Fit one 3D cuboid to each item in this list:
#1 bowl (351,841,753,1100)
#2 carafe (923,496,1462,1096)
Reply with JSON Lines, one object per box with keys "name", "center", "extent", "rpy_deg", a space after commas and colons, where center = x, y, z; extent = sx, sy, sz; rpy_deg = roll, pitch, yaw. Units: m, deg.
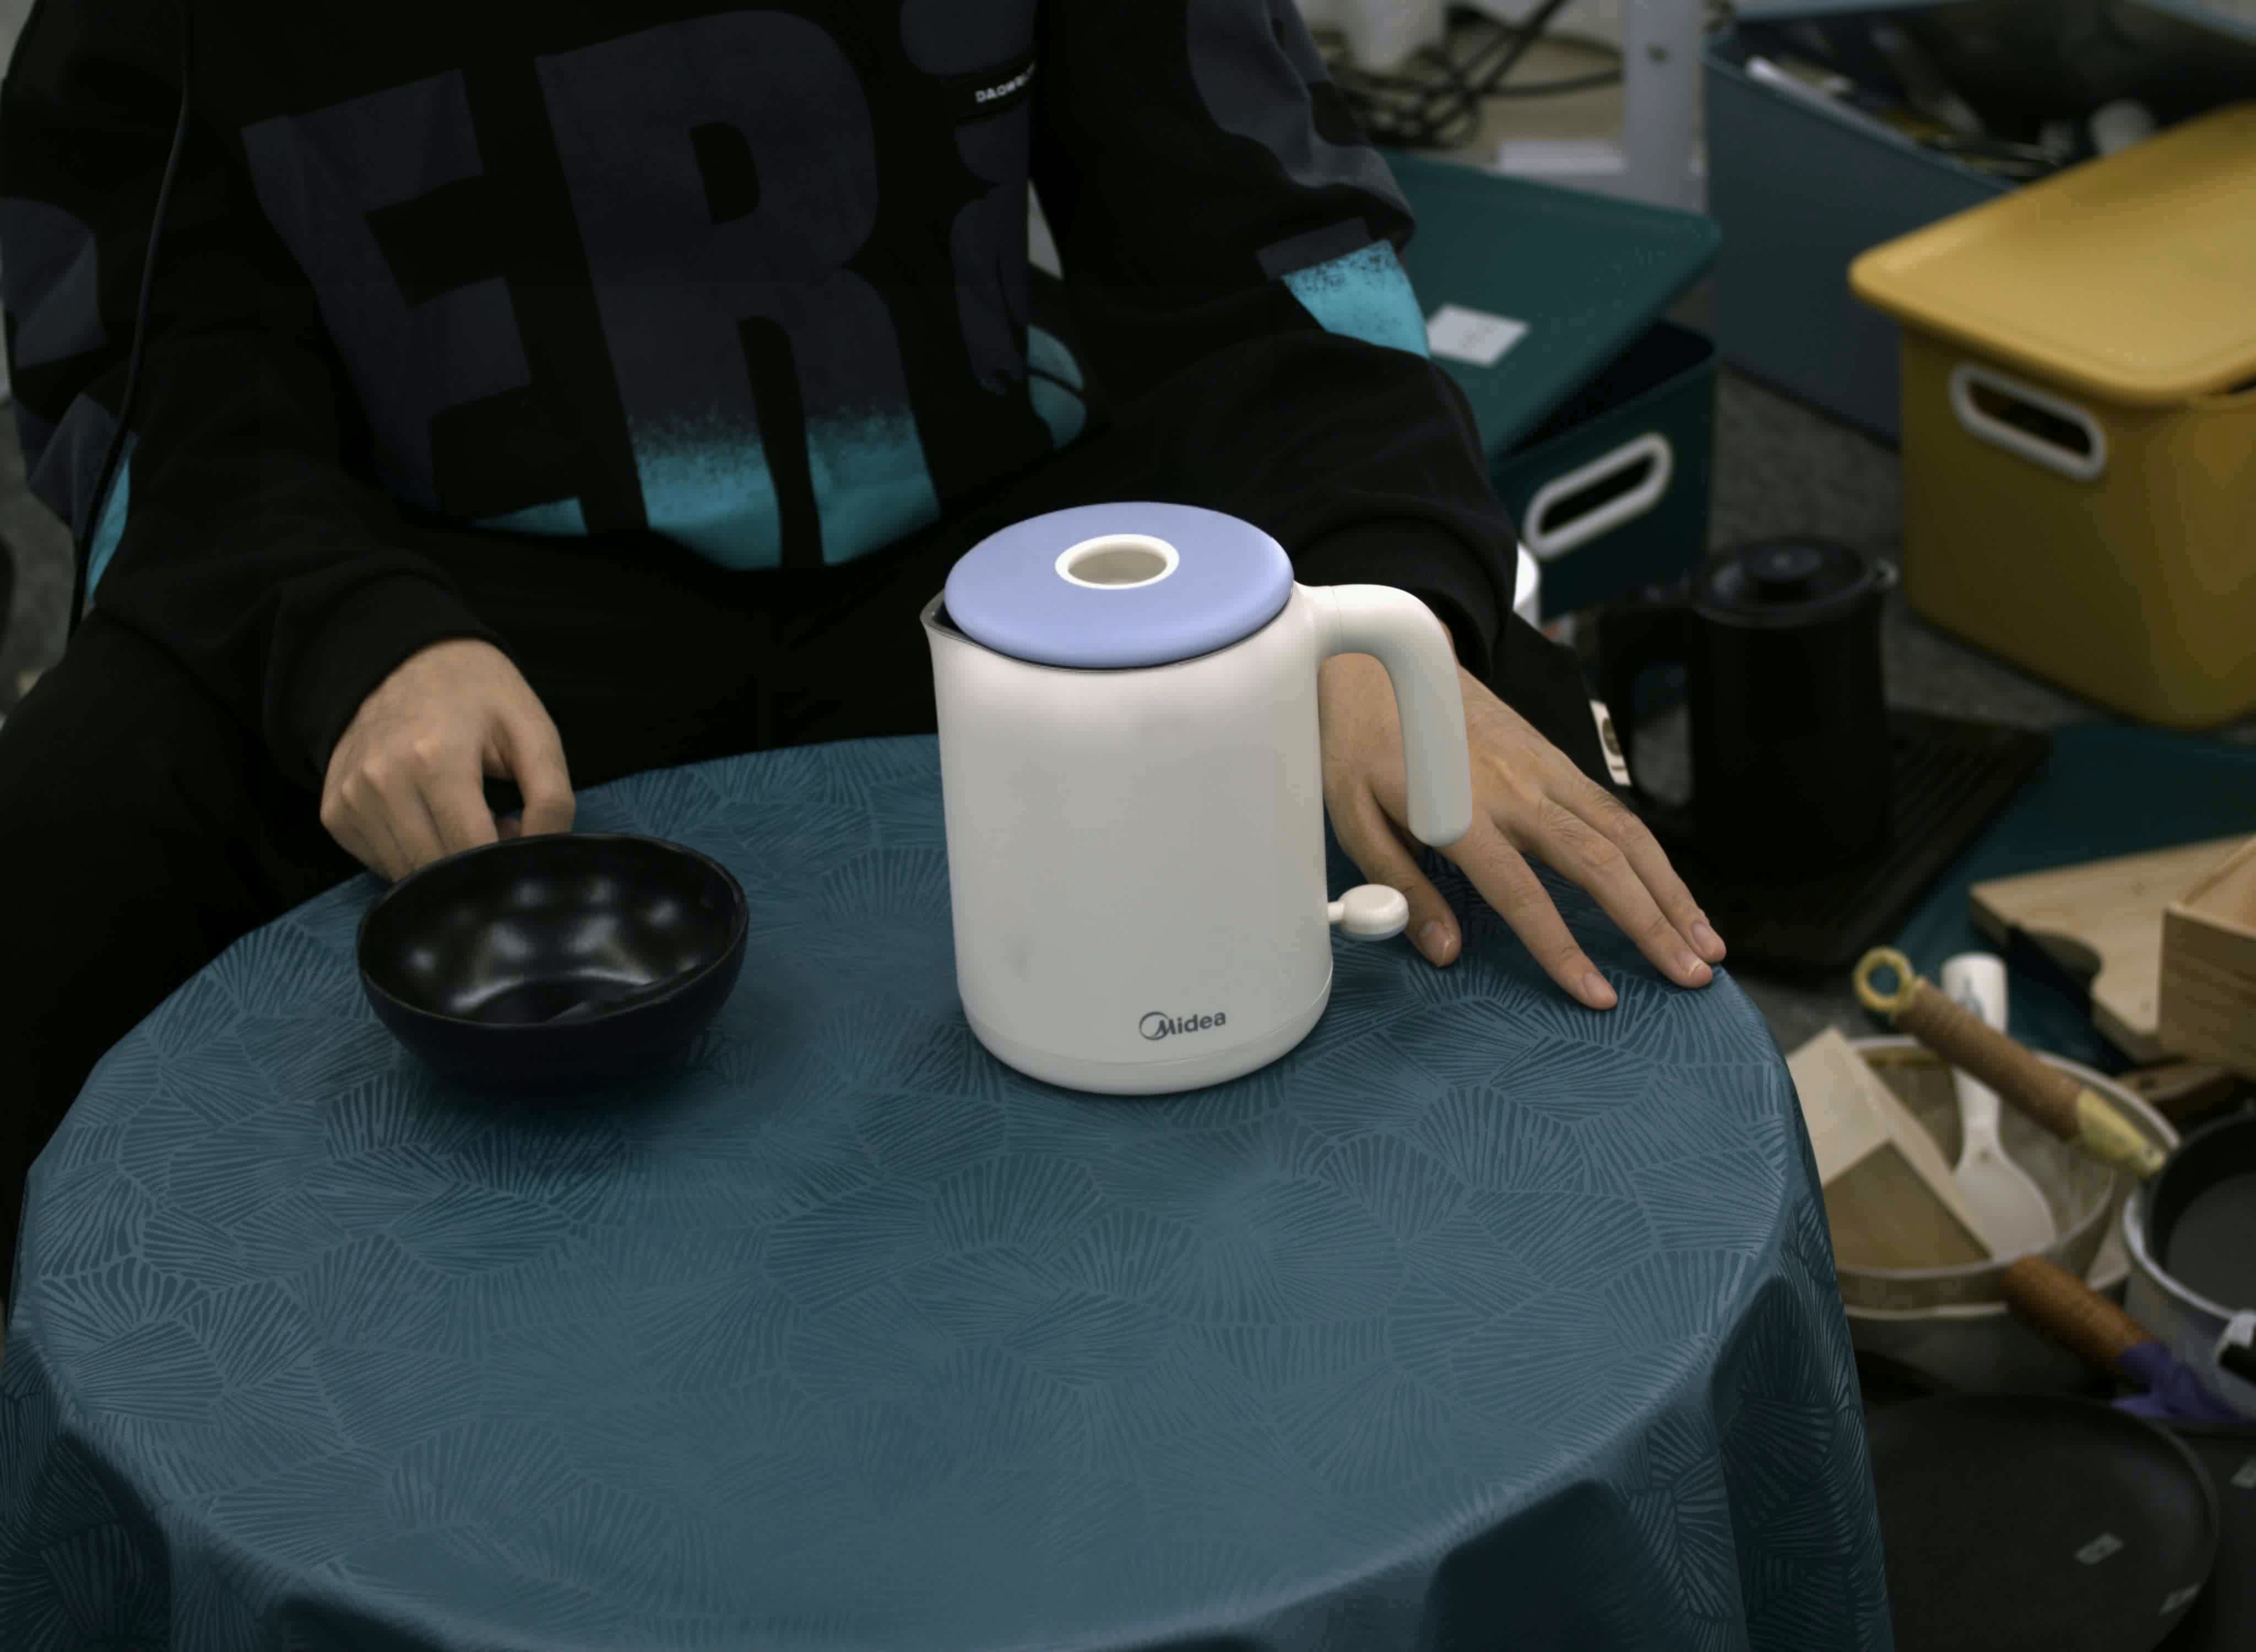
{"name": "bowl", "center": [-0.198, 0.058, 1.952], "extent": [0.139, 0.049, 0.142], "rpy_deg": [-2, 25, 1]}
{"name": "carafe", "center": [0.025, -0.014, 1.936], "extent": [0.191, 0.180, 0.134], "rpy_deg": [-7, 28, -12]}
